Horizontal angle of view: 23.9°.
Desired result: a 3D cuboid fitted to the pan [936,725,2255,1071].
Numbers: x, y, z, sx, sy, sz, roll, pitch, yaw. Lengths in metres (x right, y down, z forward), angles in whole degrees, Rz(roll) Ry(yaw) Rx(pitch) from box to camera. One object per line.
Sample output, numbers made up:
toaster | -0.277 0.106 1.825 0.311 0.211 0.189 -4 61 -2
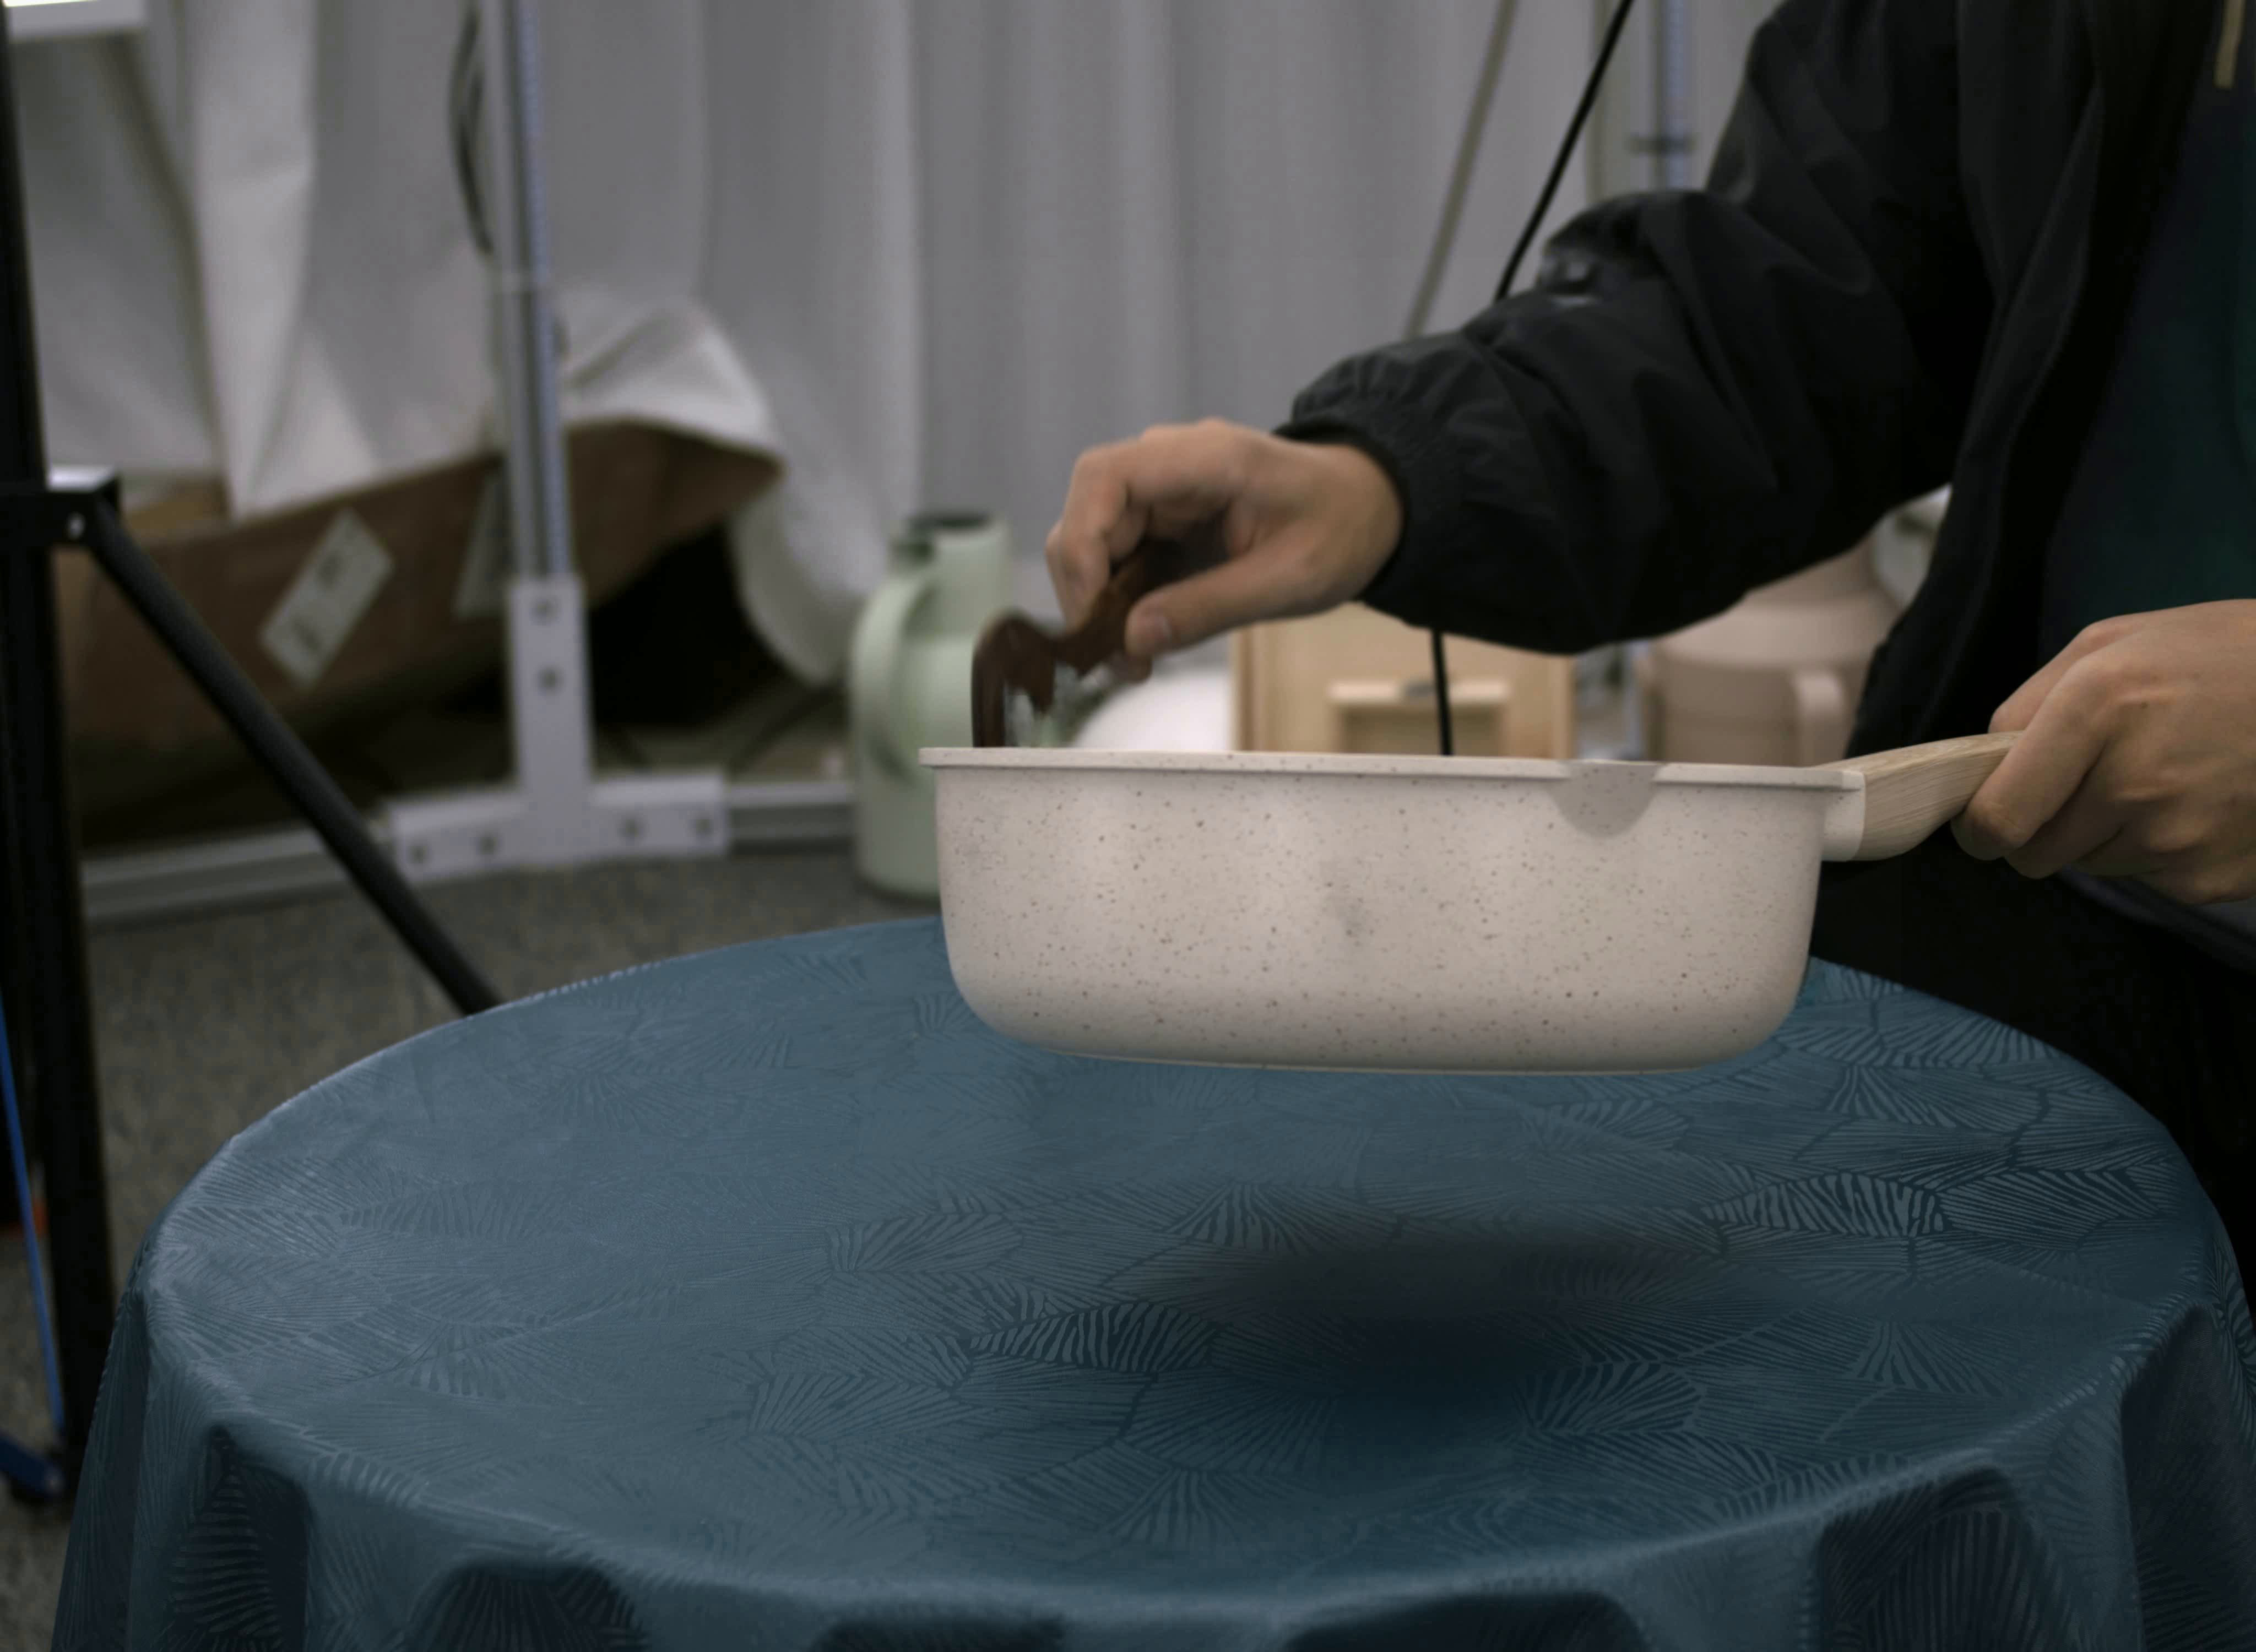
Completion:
pan | 0.154 0.016 1.470 0.425 0.102 0.268 2 -2 -25

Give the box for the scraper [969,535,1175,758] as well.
scraper | -0.018 -0.050 1.756 0.011 0.075 0.209 5 24 18
